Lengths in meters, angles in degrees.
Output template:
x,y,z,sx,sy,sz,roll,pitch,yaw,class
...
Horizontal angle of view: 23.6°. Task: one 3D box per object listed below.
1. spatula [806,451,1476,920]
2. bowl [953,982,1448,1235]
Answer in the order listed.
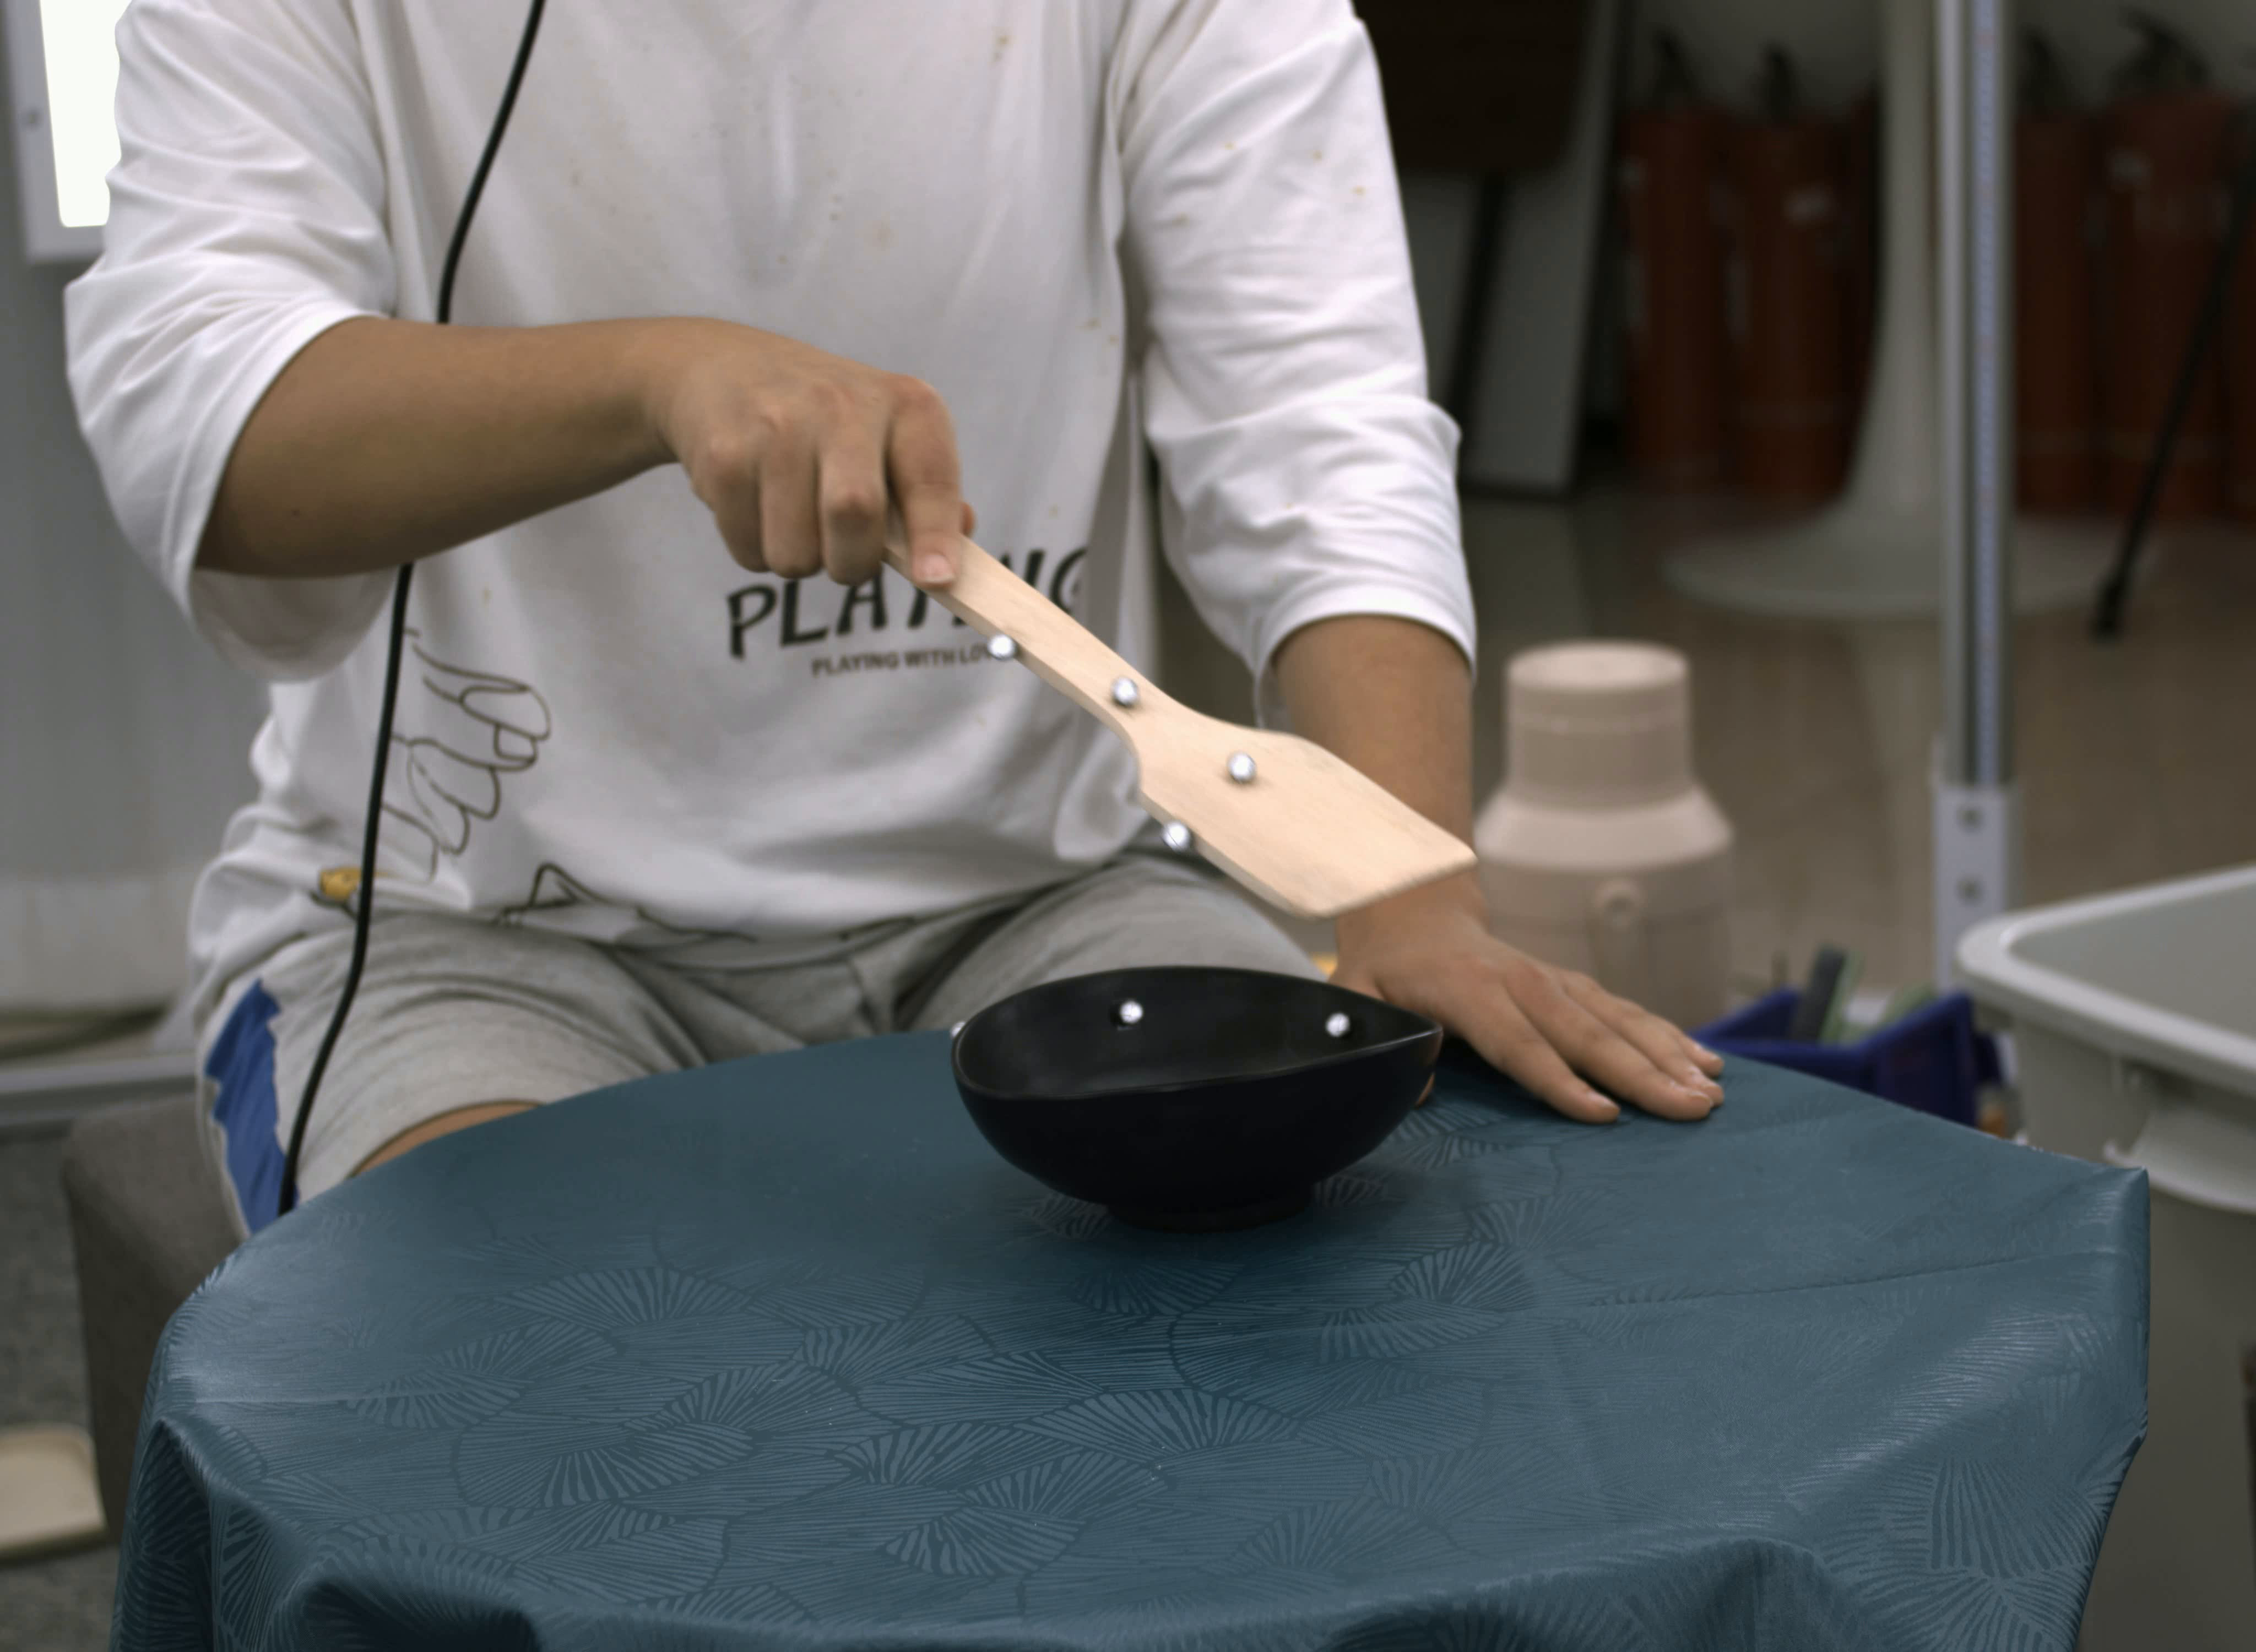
x,y,z,sx,sy,sz,roll,pitch,yaw,class
-0.010,-0.049,1.704,0.071,0.011,0.296,-18,41,-35,spatula
0.024,0.093,1.751,0.166,0.067,0.139,-9,13,-29,bowl
